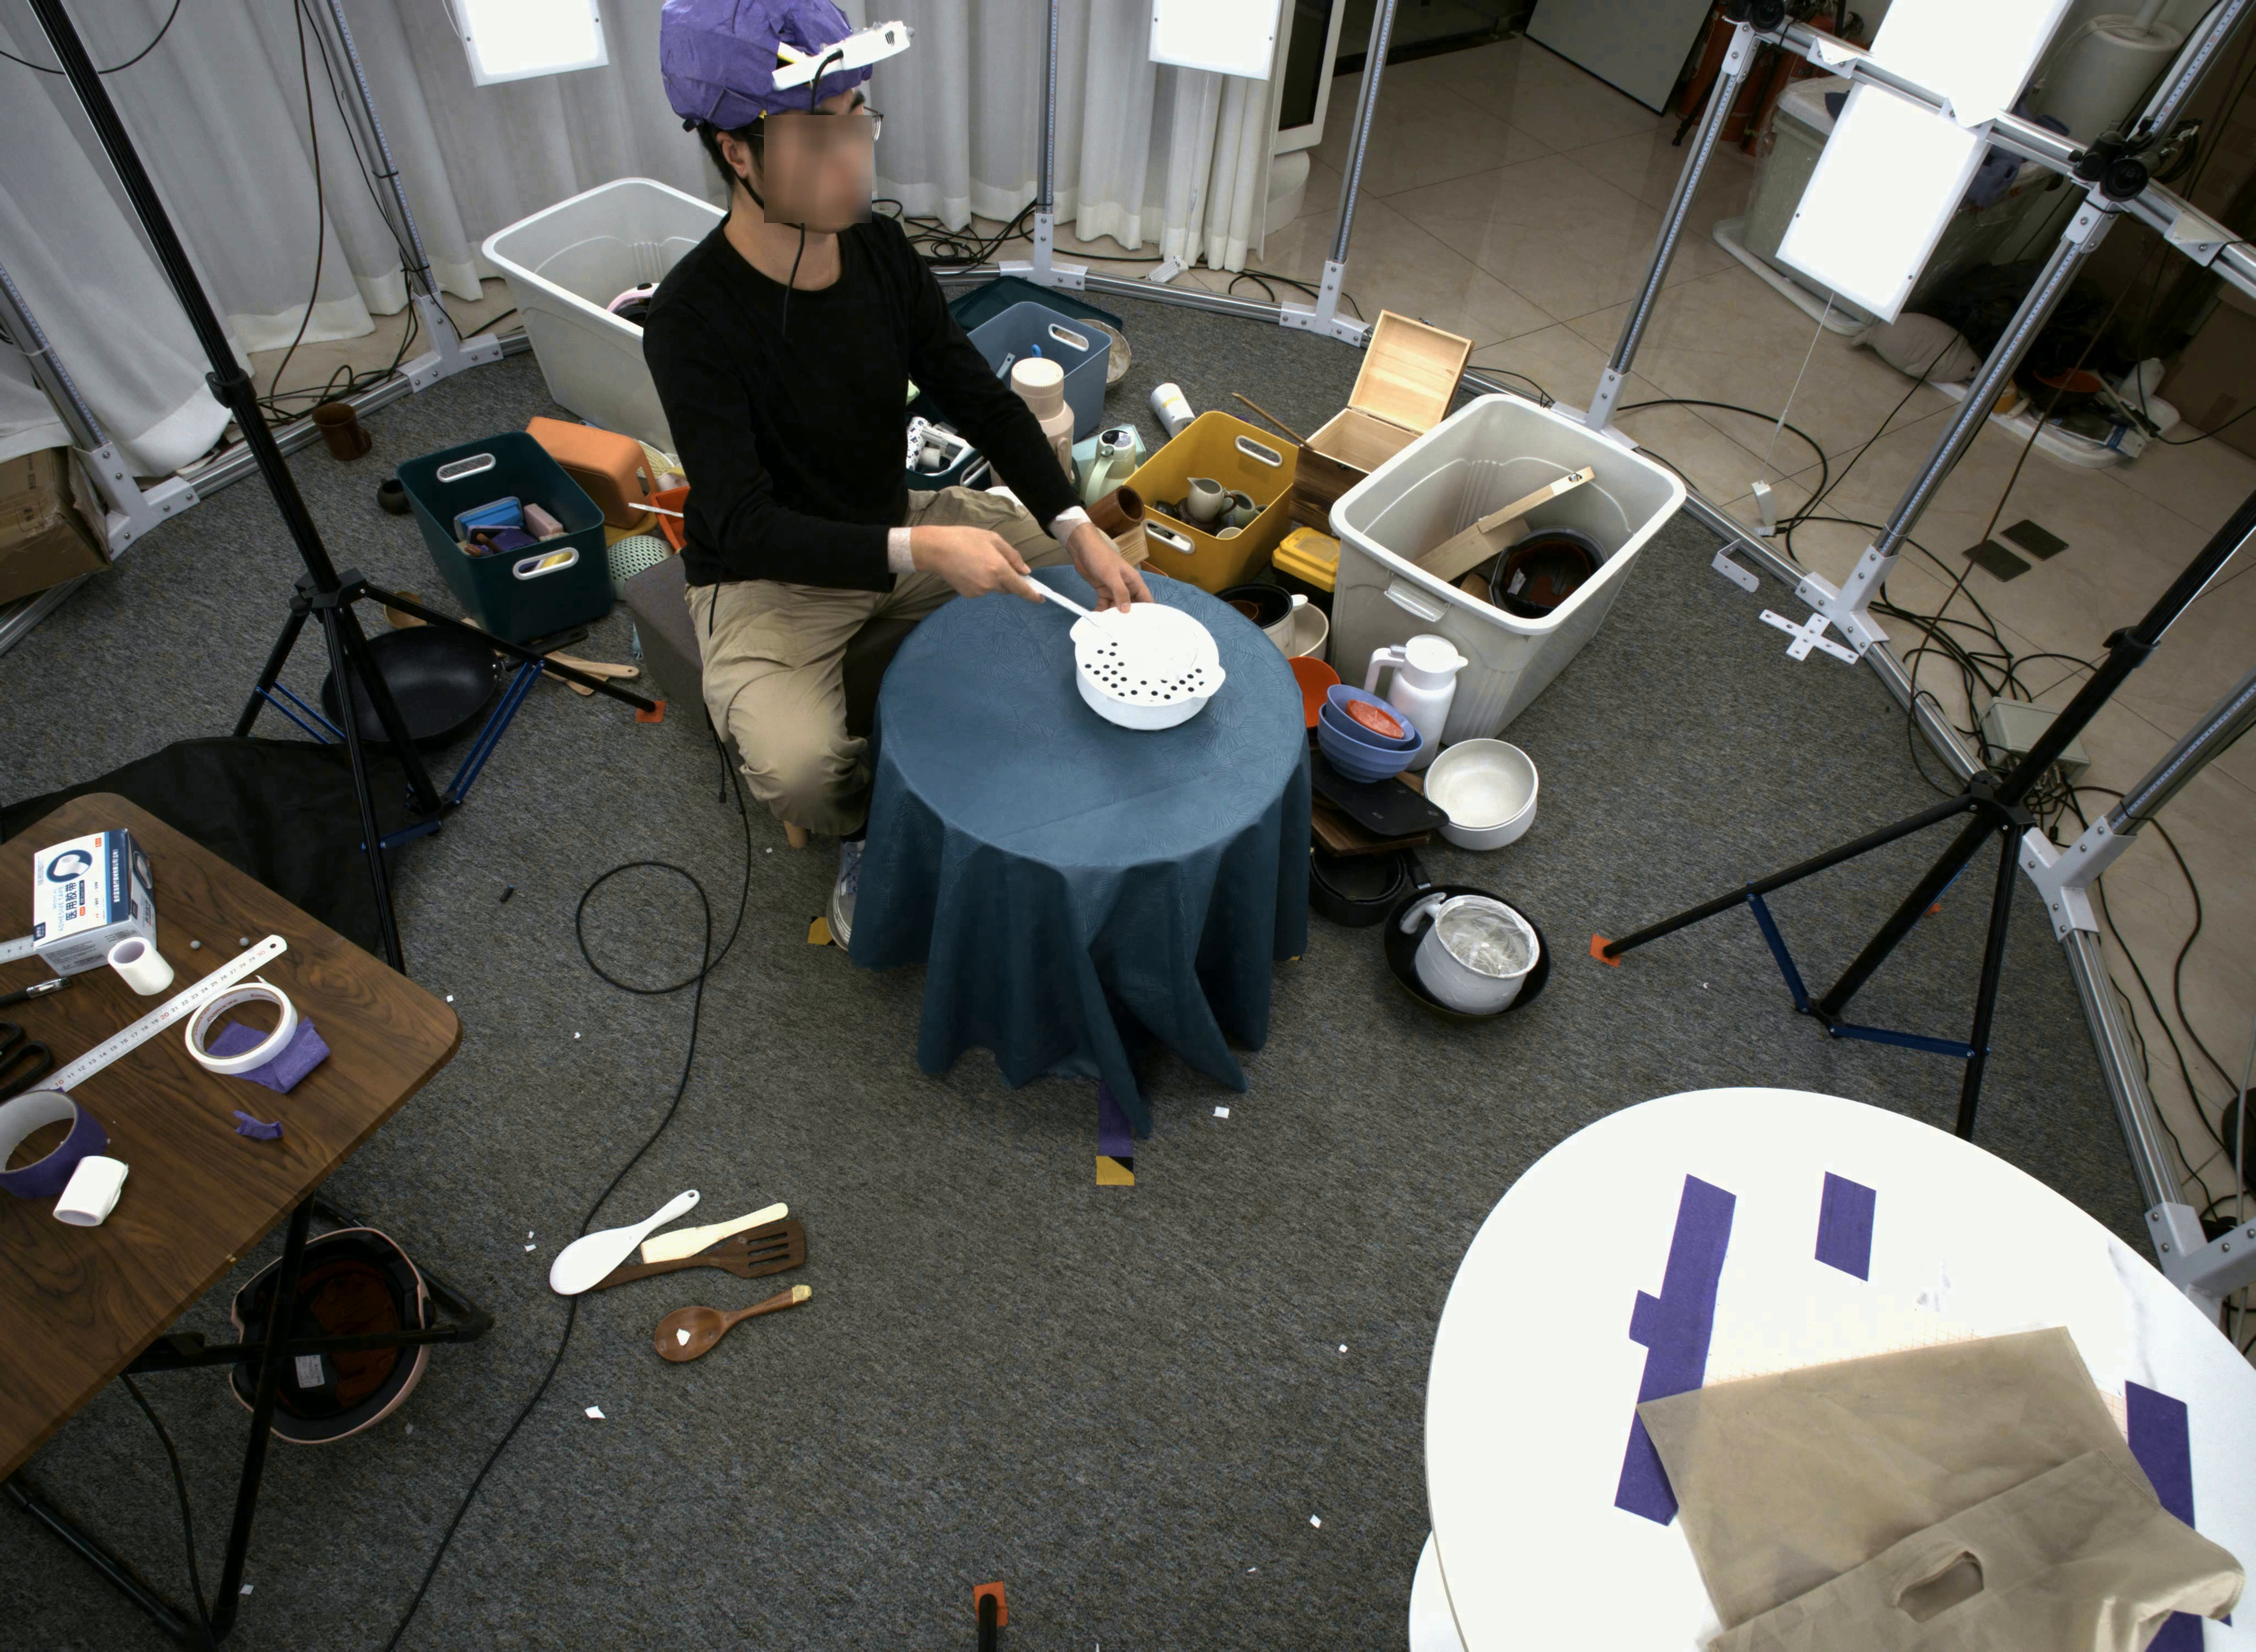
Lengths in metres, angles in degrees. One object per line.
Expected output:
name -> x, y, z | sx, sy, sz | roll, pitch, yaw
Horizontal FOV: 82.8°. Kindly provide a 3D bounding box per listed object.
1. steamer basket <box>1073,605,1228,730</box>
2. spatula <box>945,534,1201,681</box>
steamer basket -> 0.029, -0.224, 1.818 | 0.232, 0.067, 0.205 | 26, 53, 17
spatula -> -0.076, -0.296, 1.683 | 0.363, 0.044, 0.100 | 28, 59, -6
